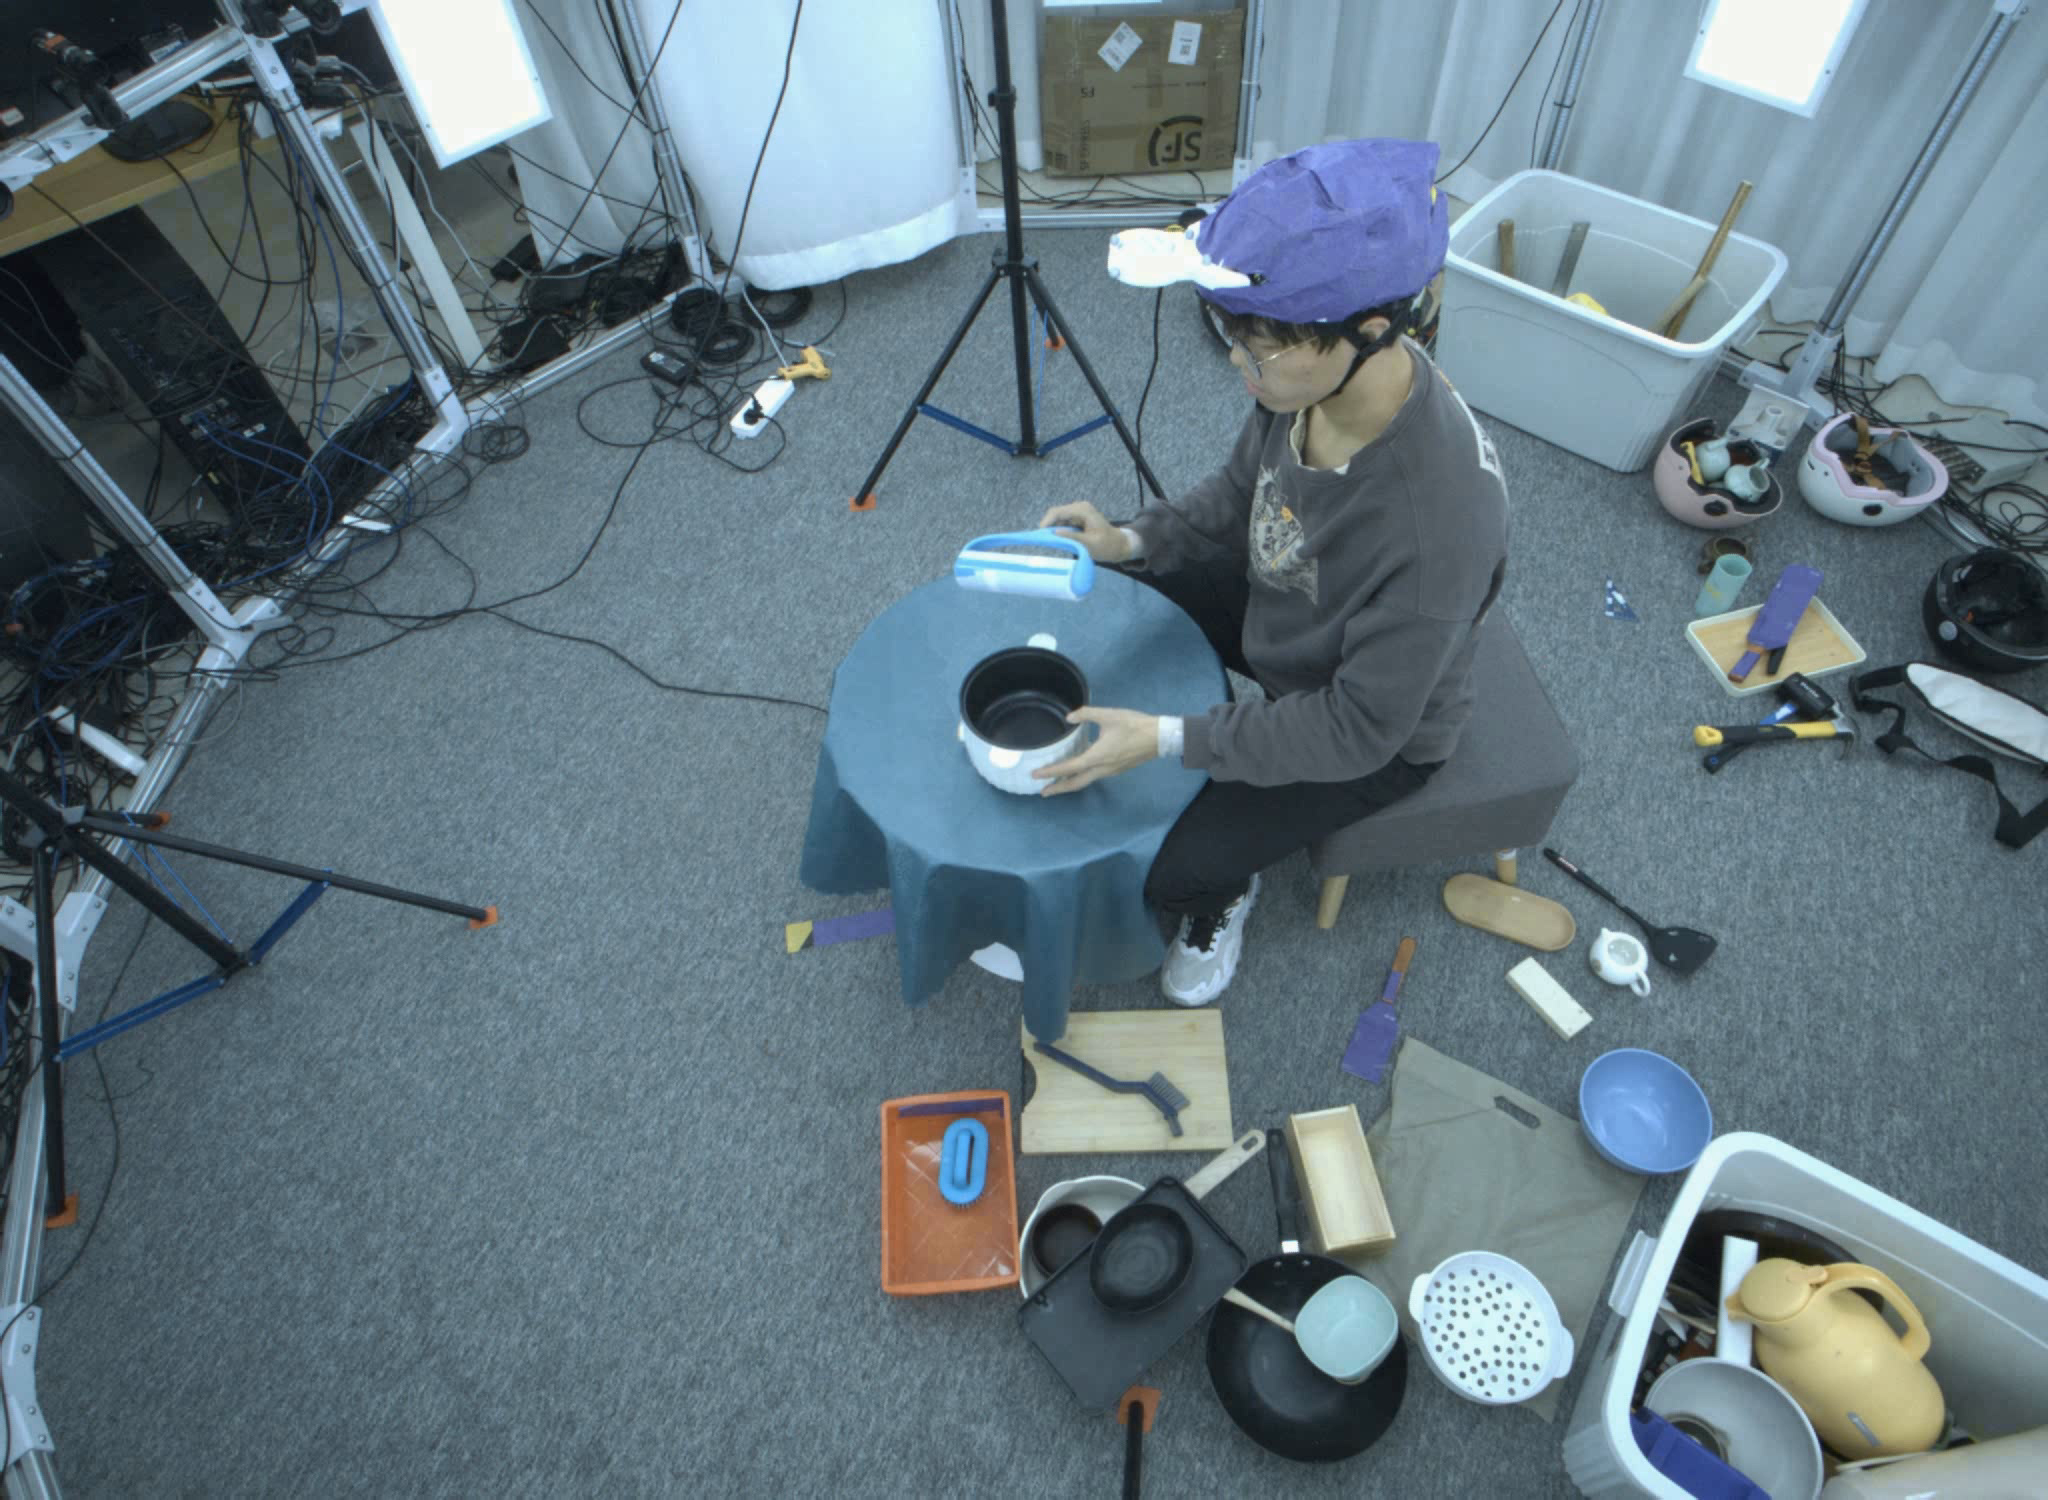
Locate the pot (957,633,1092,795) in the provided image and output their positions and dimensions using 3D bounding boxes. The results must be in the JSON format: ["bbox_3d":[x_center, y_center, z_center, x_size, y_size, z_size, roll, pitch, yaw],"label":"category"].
[{"bbox_3d":[-0.001,-0.033,1.722,0.189,0.144,0.239,12,54,7],"label":"pot"}]

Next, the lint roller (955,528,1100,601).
[{"bbox_3d":[0.030,-0.270,1.680,0.224,0.069,0.181,7,41,33],"label":"lint roller"}]
